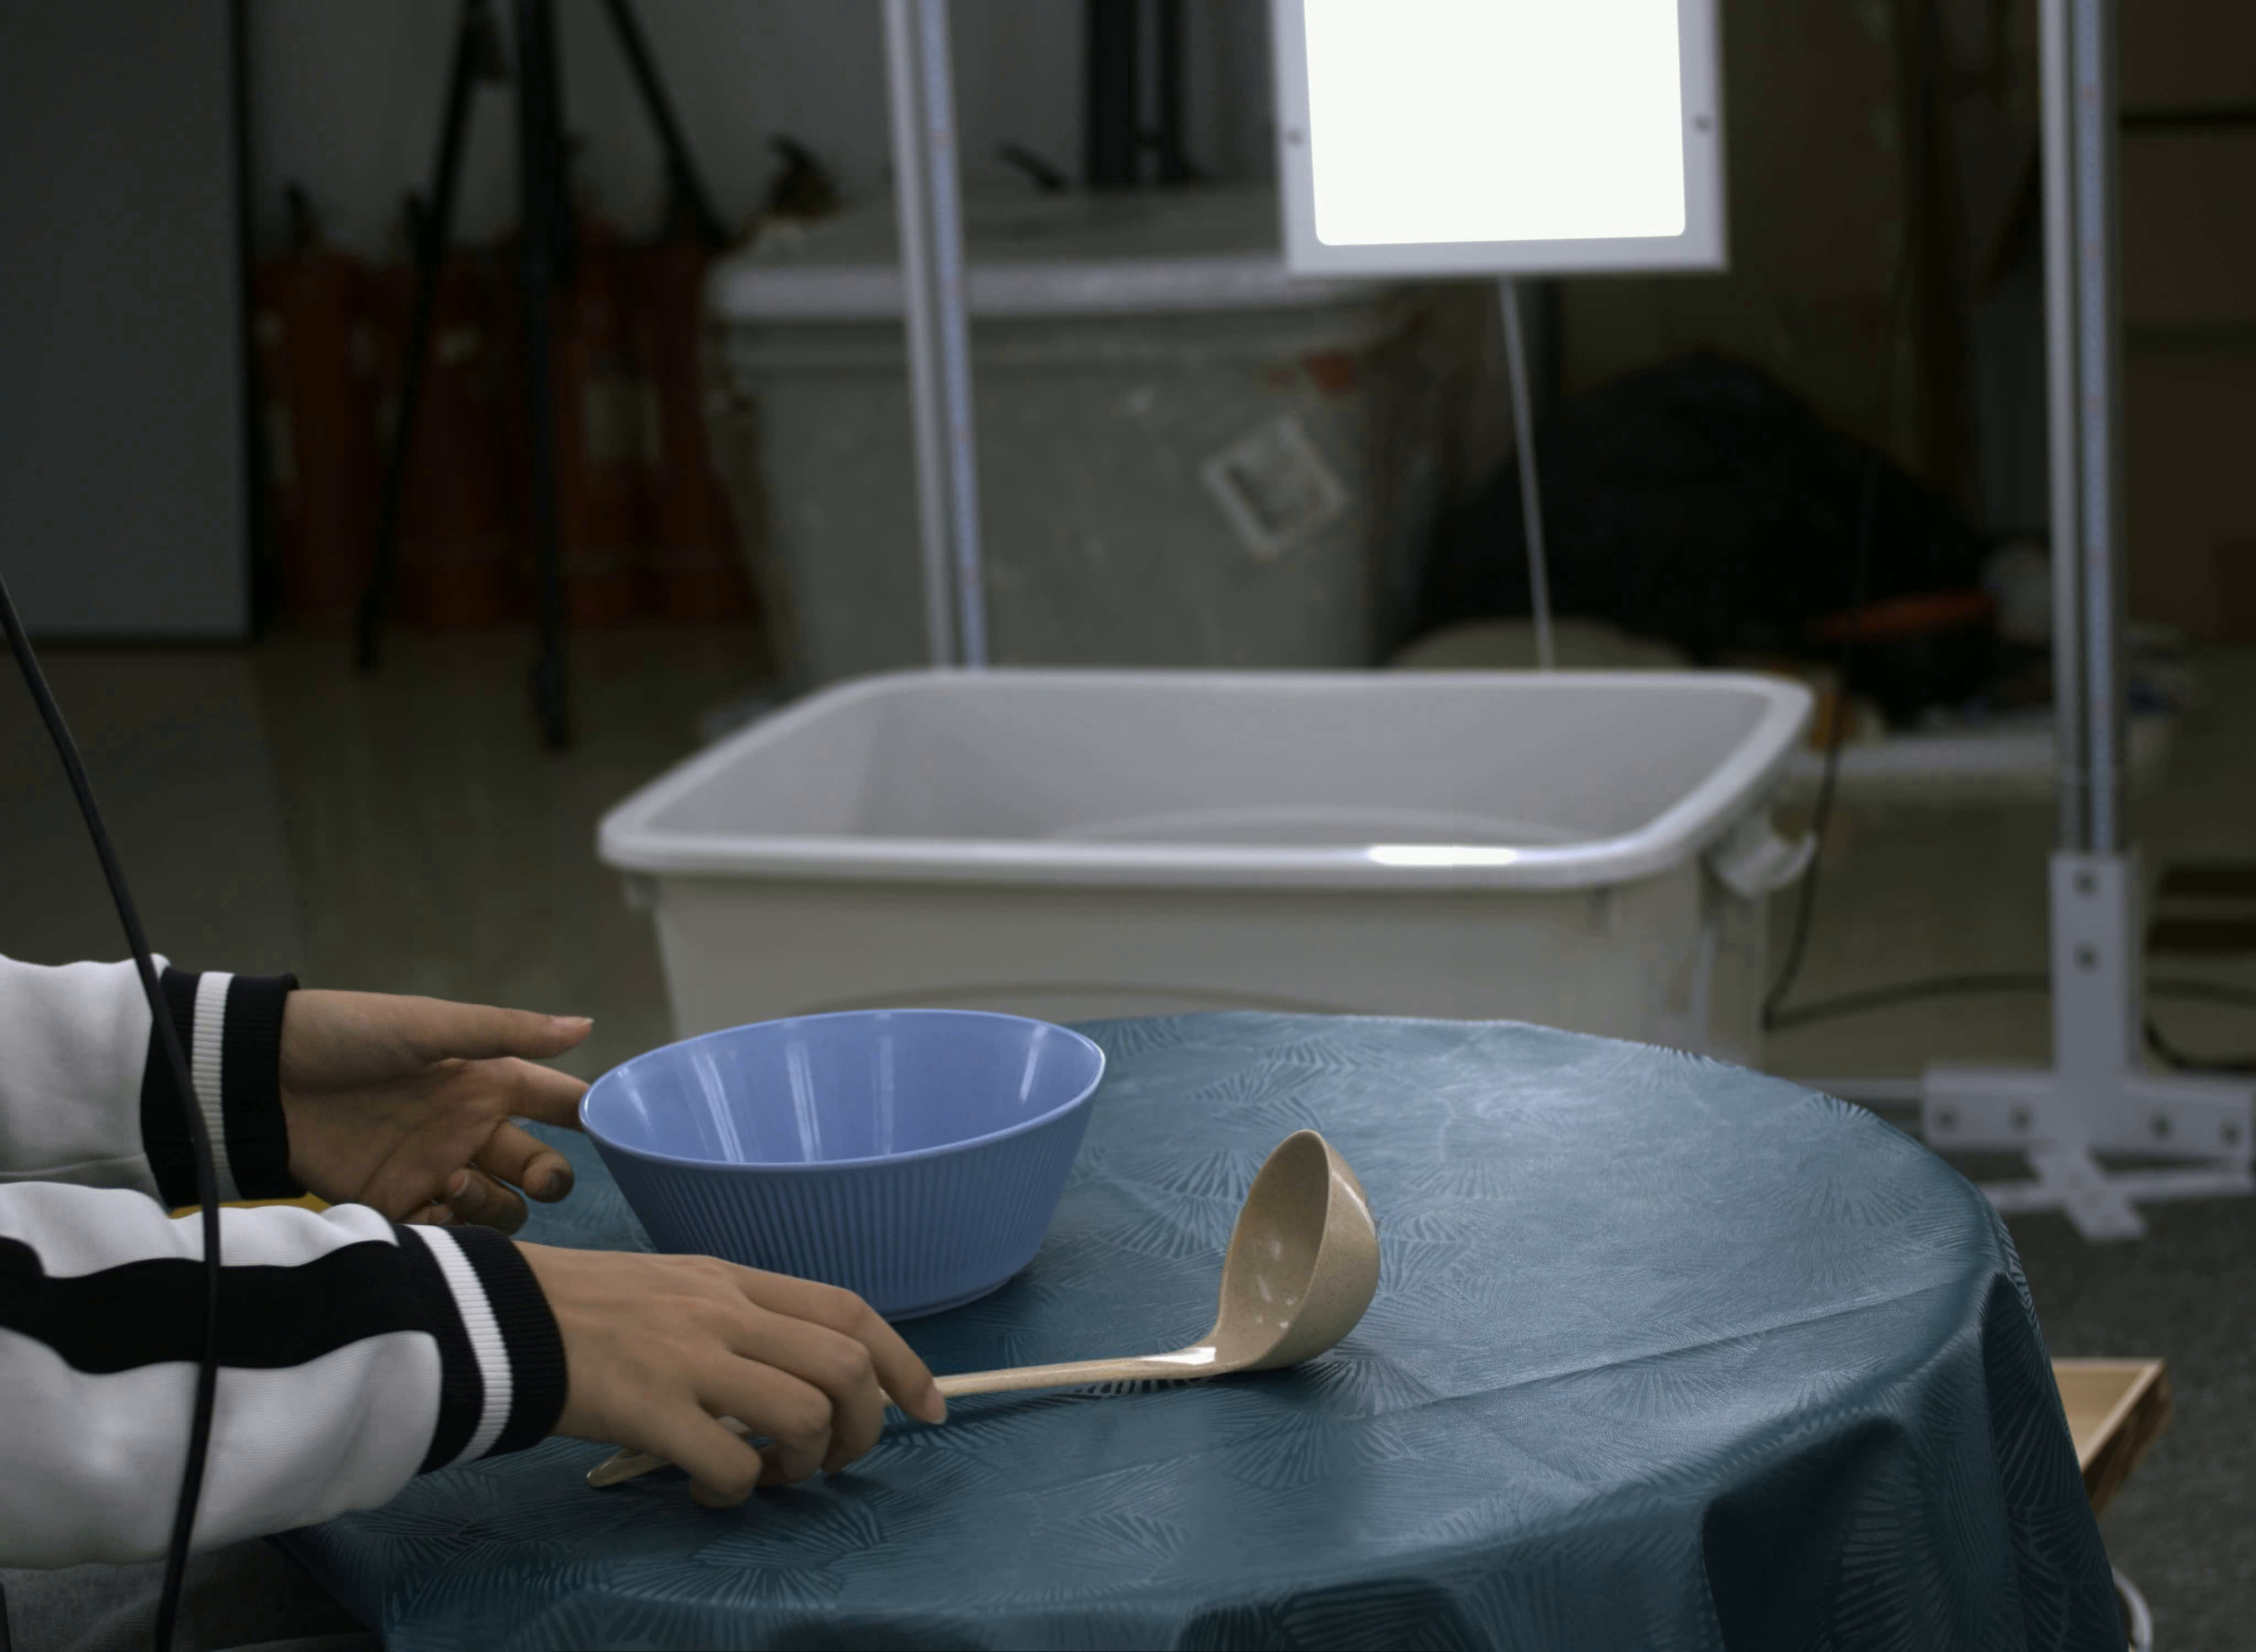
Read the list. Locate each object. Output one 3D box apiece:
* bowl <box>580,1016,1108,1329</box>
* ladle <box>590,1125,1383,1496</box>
[{"bbox_3d":[-0.091,0.117,1.826,0.175,0.070,0.176,-5,13,0],"label":"bowl"},{"bbox_3d":[-0.045,0.146,1.683,0.250,0.073,0.073,-9,13,-16],"label":"ladle"}]
